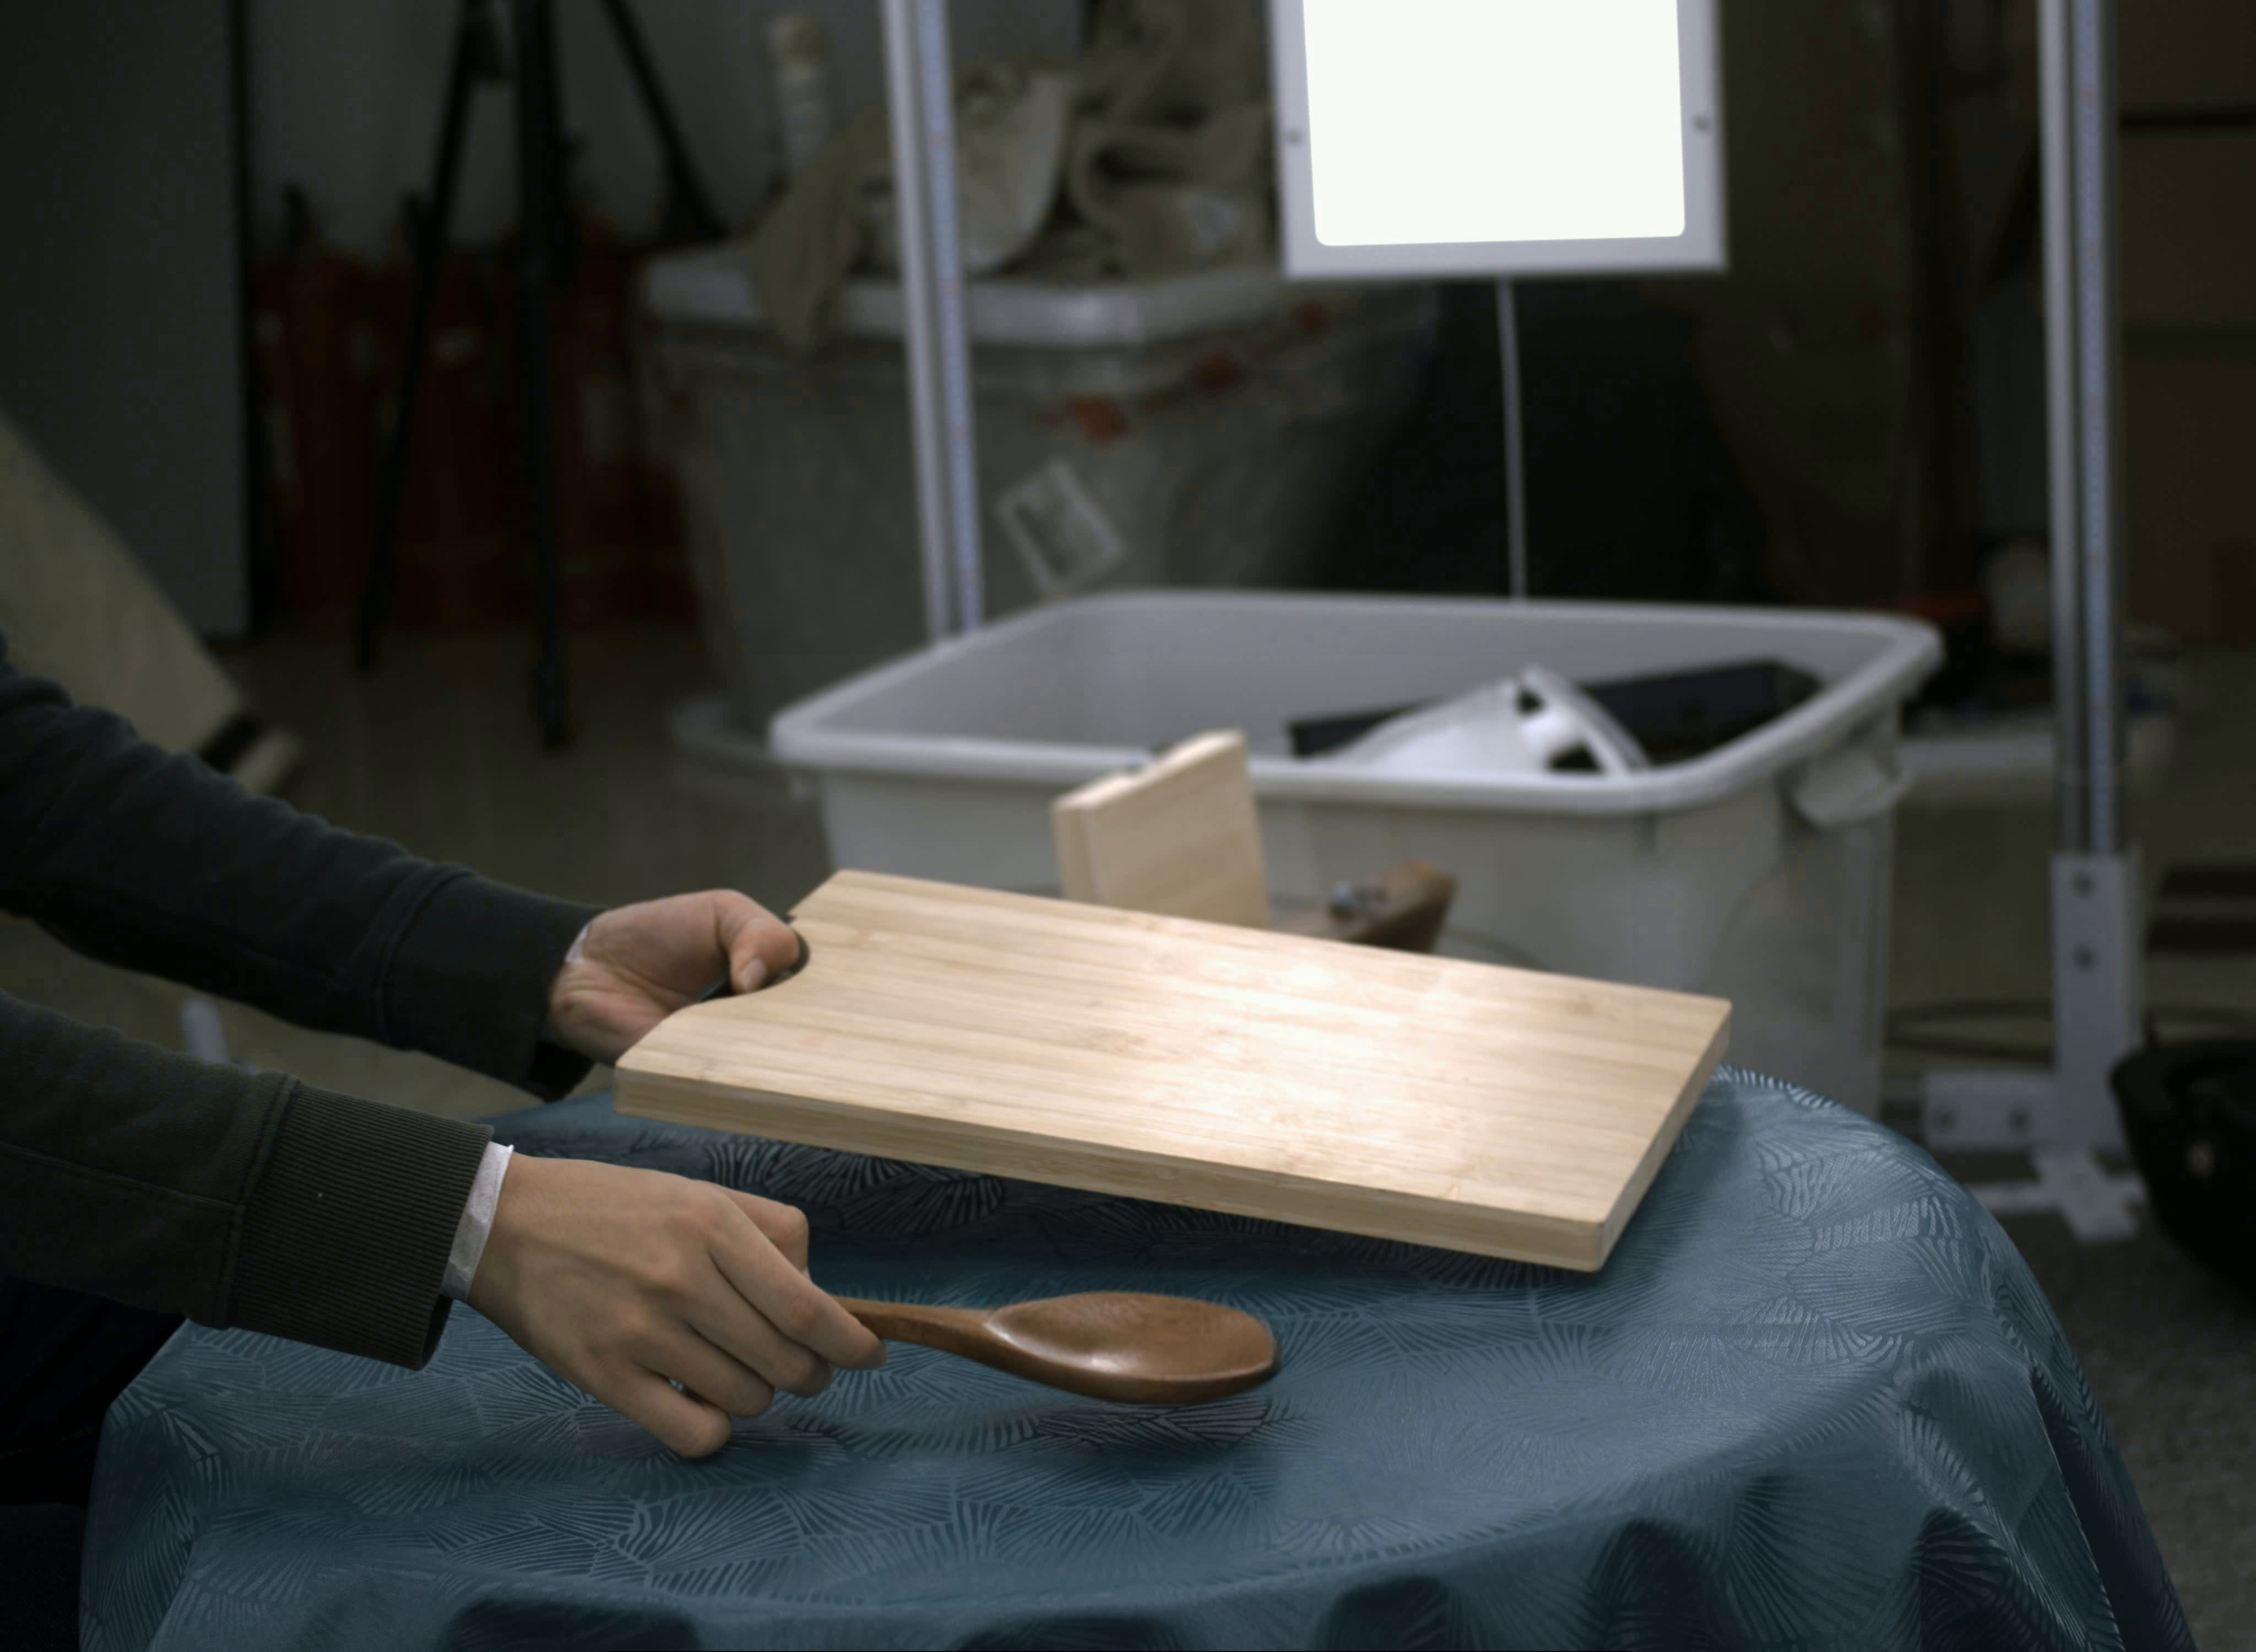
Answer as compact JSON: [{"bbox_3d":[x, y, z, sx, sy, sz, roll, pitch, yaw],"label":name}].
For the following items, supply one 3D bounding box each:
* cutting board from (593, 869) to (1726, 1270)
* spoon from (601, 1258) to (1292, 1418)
[{"bbox_3d":[0.017,0.080,1.909,0.352,0.024,0.247,8,17,15],"label":"cutting board"},{"bbox_3d":[-0.056,0.154,1.681,0.217,0.017,0.074,7,18,12],"label":"spoon"}]
